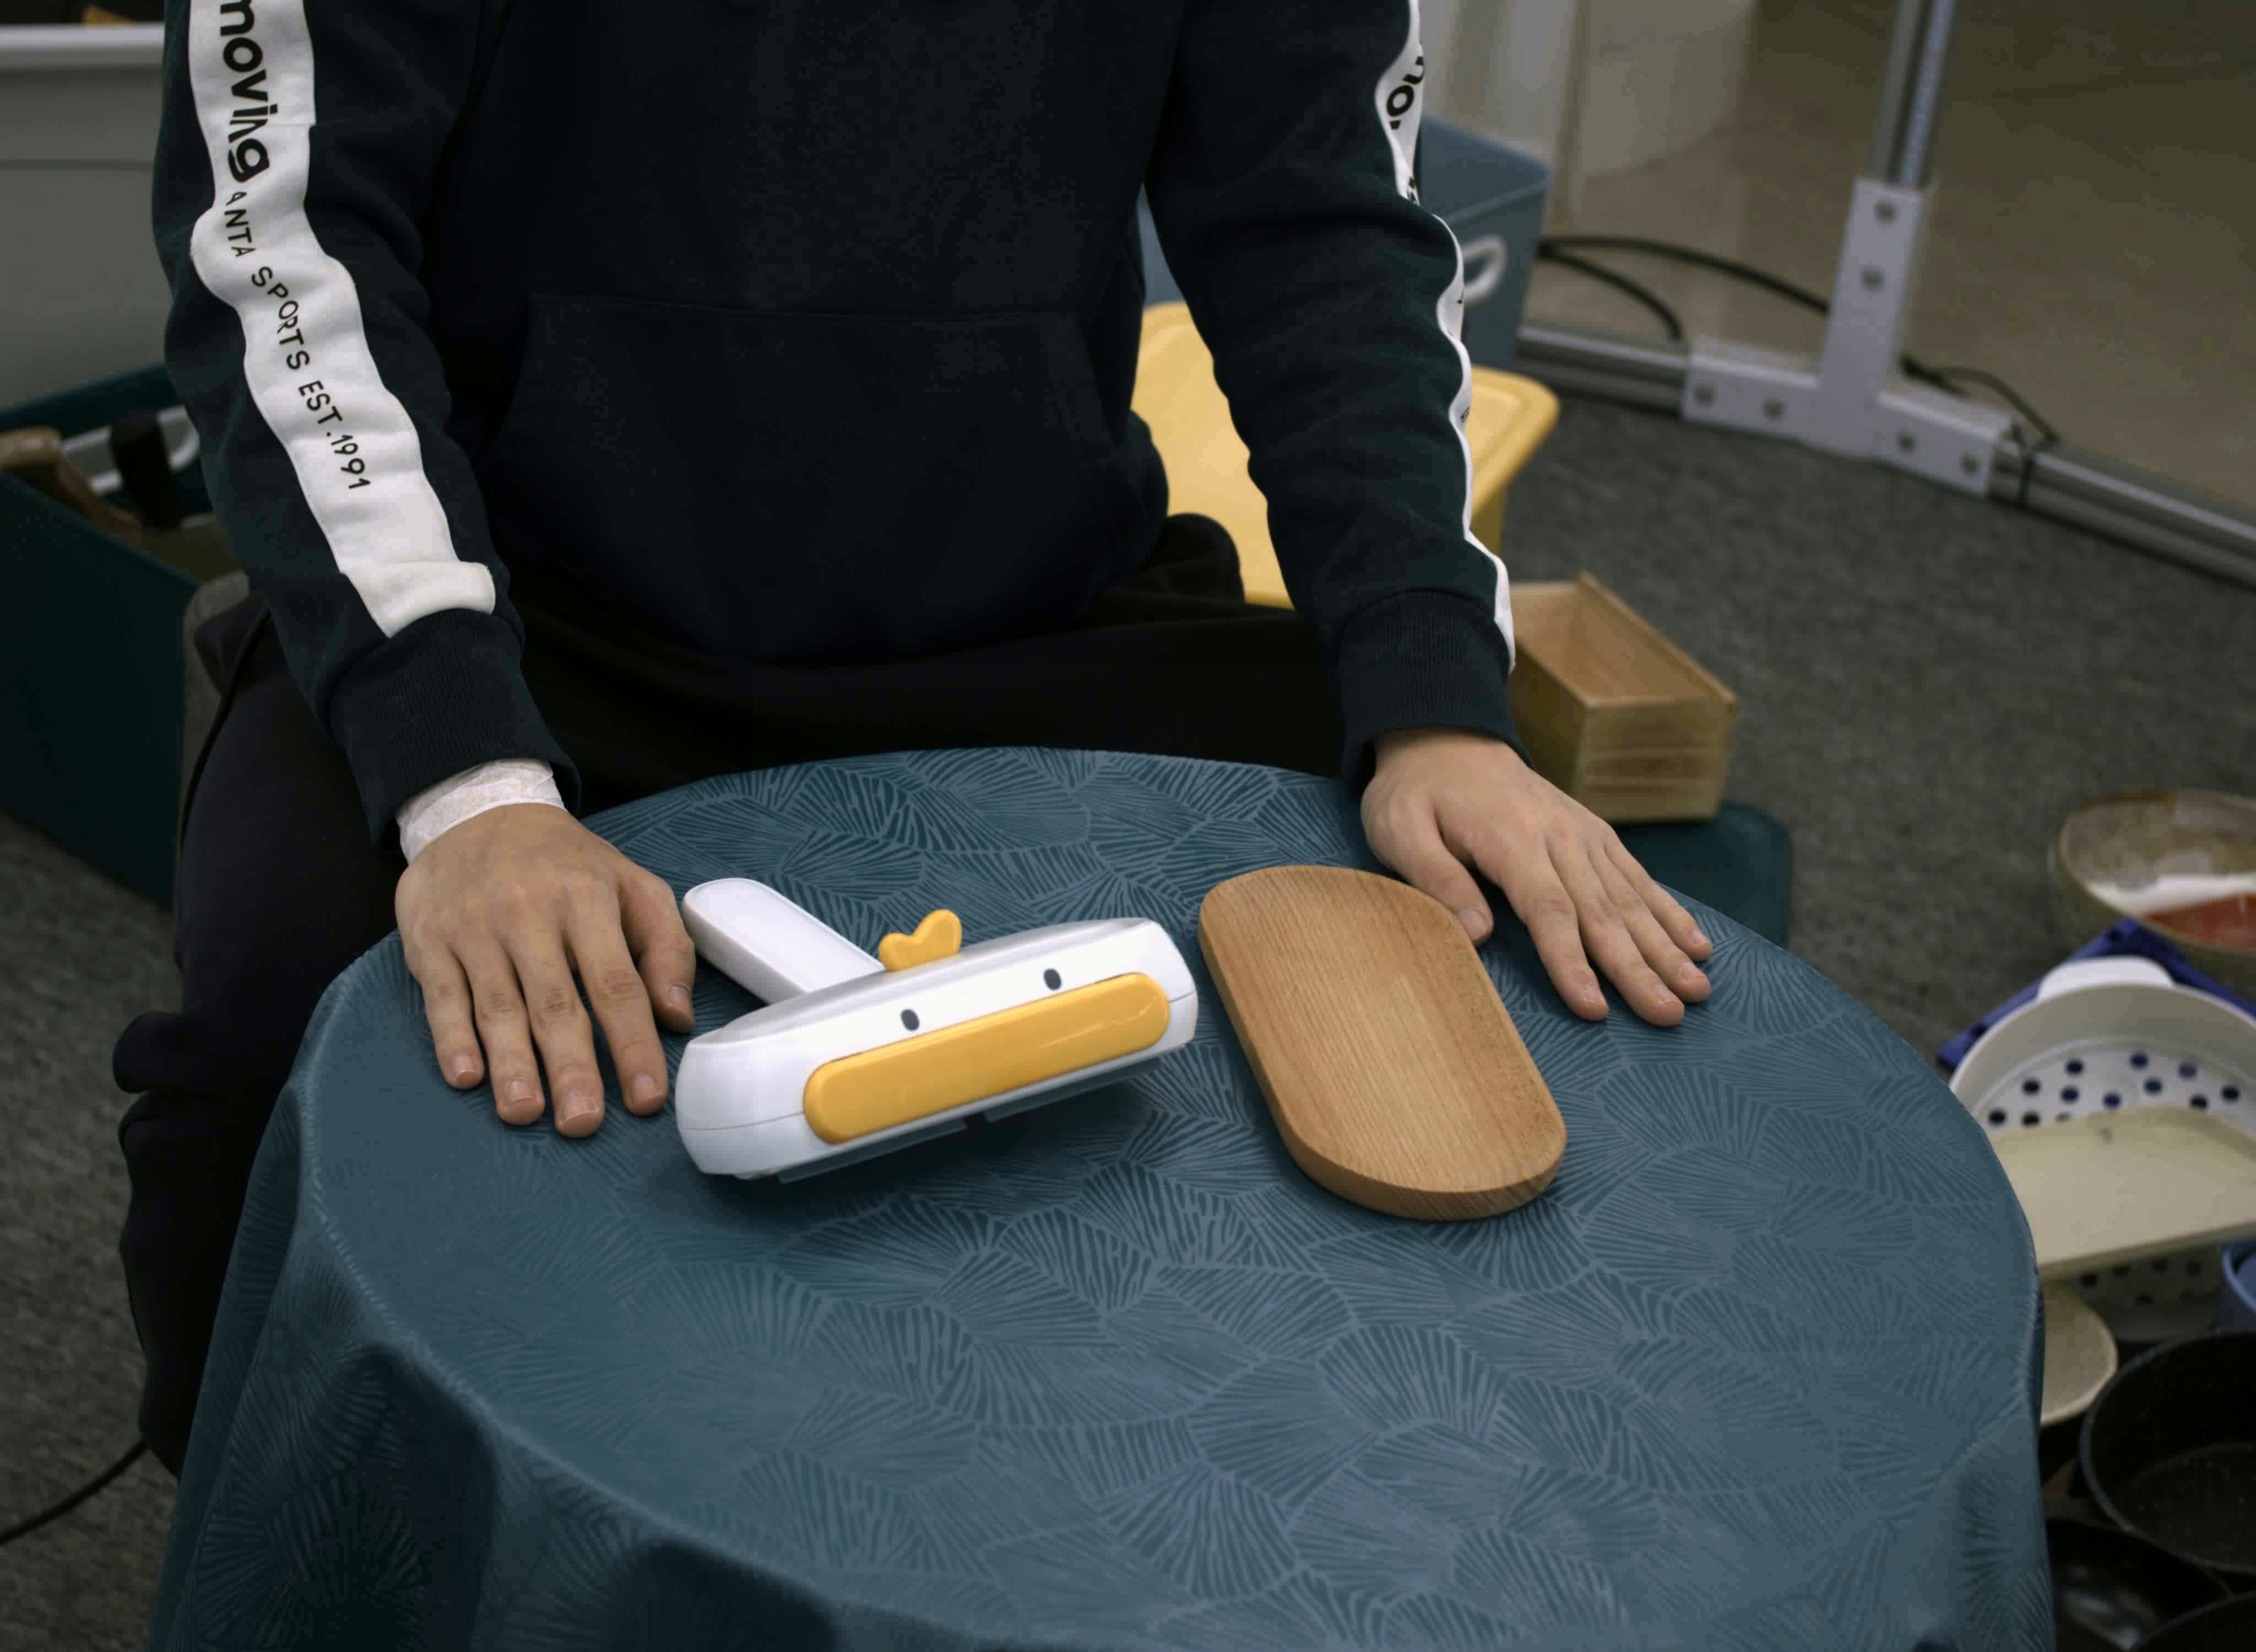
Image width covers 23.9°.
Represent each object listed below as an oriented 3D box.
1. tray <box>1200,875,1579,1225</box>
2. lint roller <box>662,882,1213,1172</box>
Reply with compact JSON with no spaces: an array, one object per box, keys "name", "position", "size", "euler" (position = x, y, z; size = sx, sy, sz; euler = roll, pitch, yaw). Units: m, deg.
[{"name":"tray","position":[0.090,0.077,1.892],"size":[0.101,0.020,0.233],"euler":[-1,29,-13]},{"name":"lint roller","position":[-0.095,0.059,1.852],"size":[0.192,0.074,0.193],"euler":[-22,18,-33]}]
